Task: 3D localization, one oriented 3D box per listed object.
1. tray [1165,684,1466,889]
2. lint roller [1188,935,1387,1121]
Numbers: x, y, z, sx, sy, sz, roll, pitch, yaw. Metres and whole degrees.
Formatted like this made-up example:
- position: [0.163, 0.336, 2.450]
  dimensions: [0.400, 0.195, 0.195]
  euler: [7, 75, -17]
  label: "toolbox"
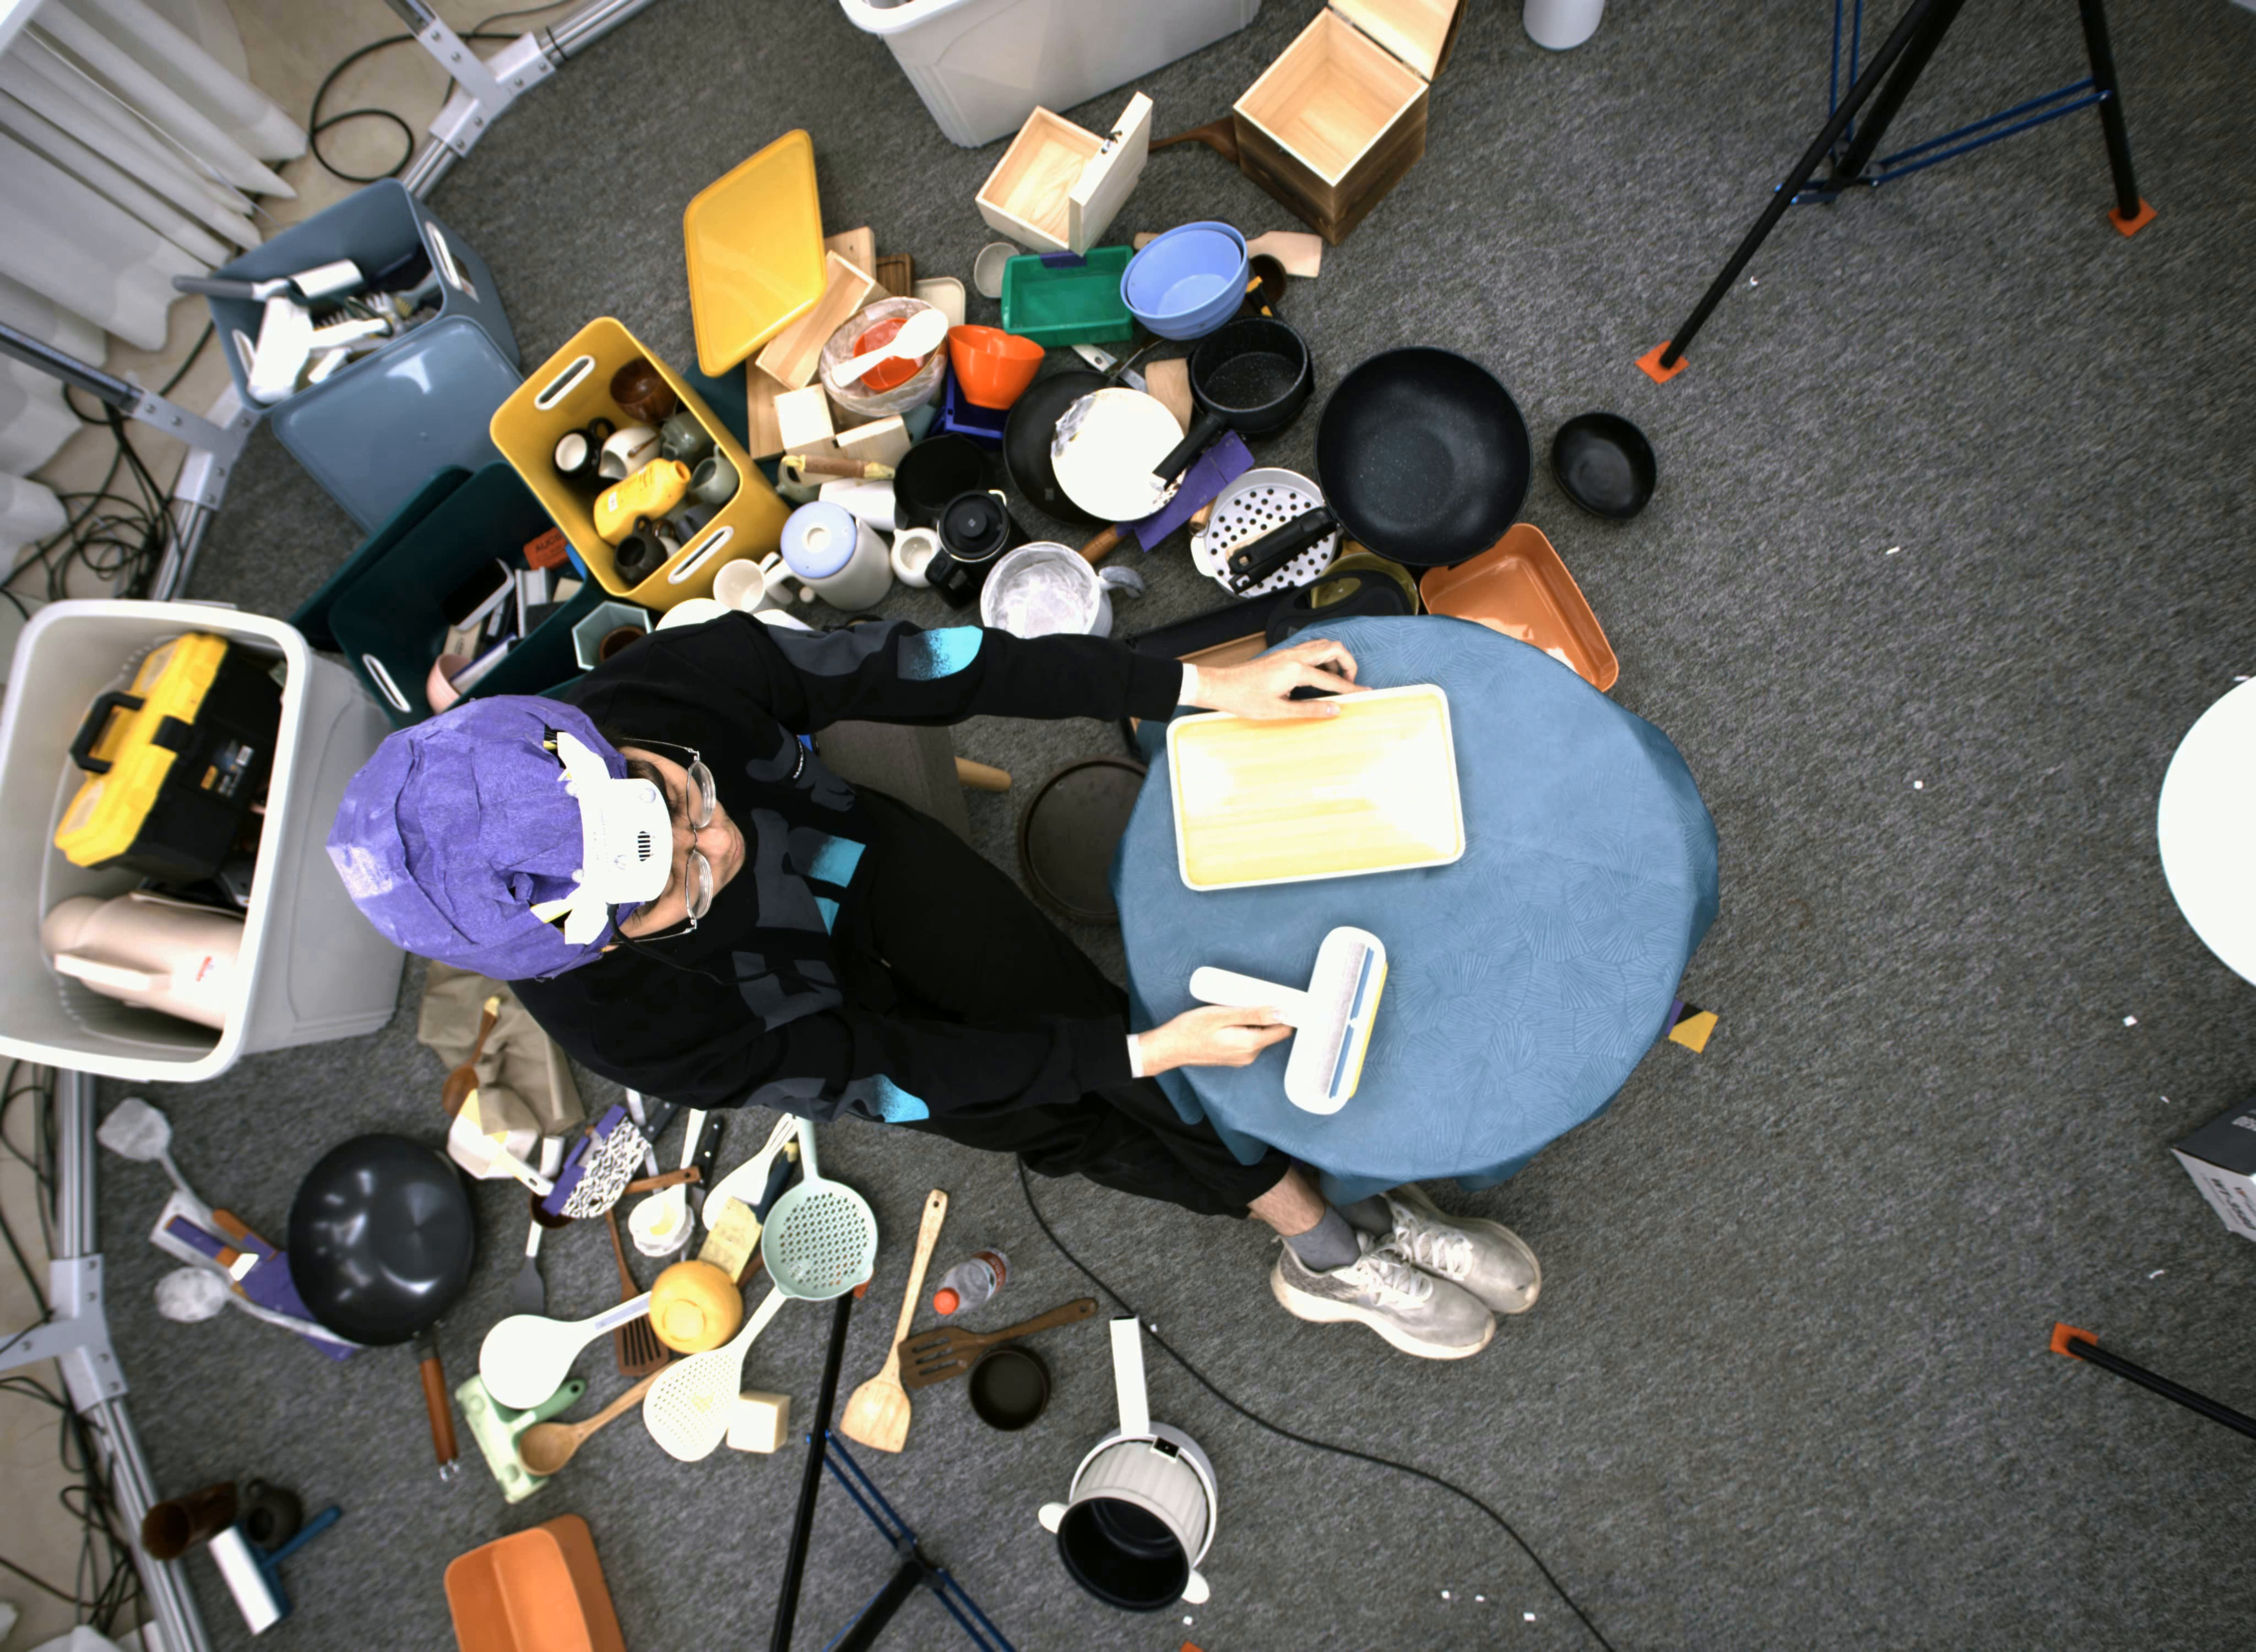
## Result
- position: [0.196, -0.041, 1.461]
  dimensions: [0.301, 0.027, 0.190]
  euler: [-6, 85, 10]
  label: "tray"
- position: [0.154, 0.186, 1.428]
  dimensions: [0.192, 0.074, 0.192]
  euler: [20, 85, 2]
  label: "lint roller"
